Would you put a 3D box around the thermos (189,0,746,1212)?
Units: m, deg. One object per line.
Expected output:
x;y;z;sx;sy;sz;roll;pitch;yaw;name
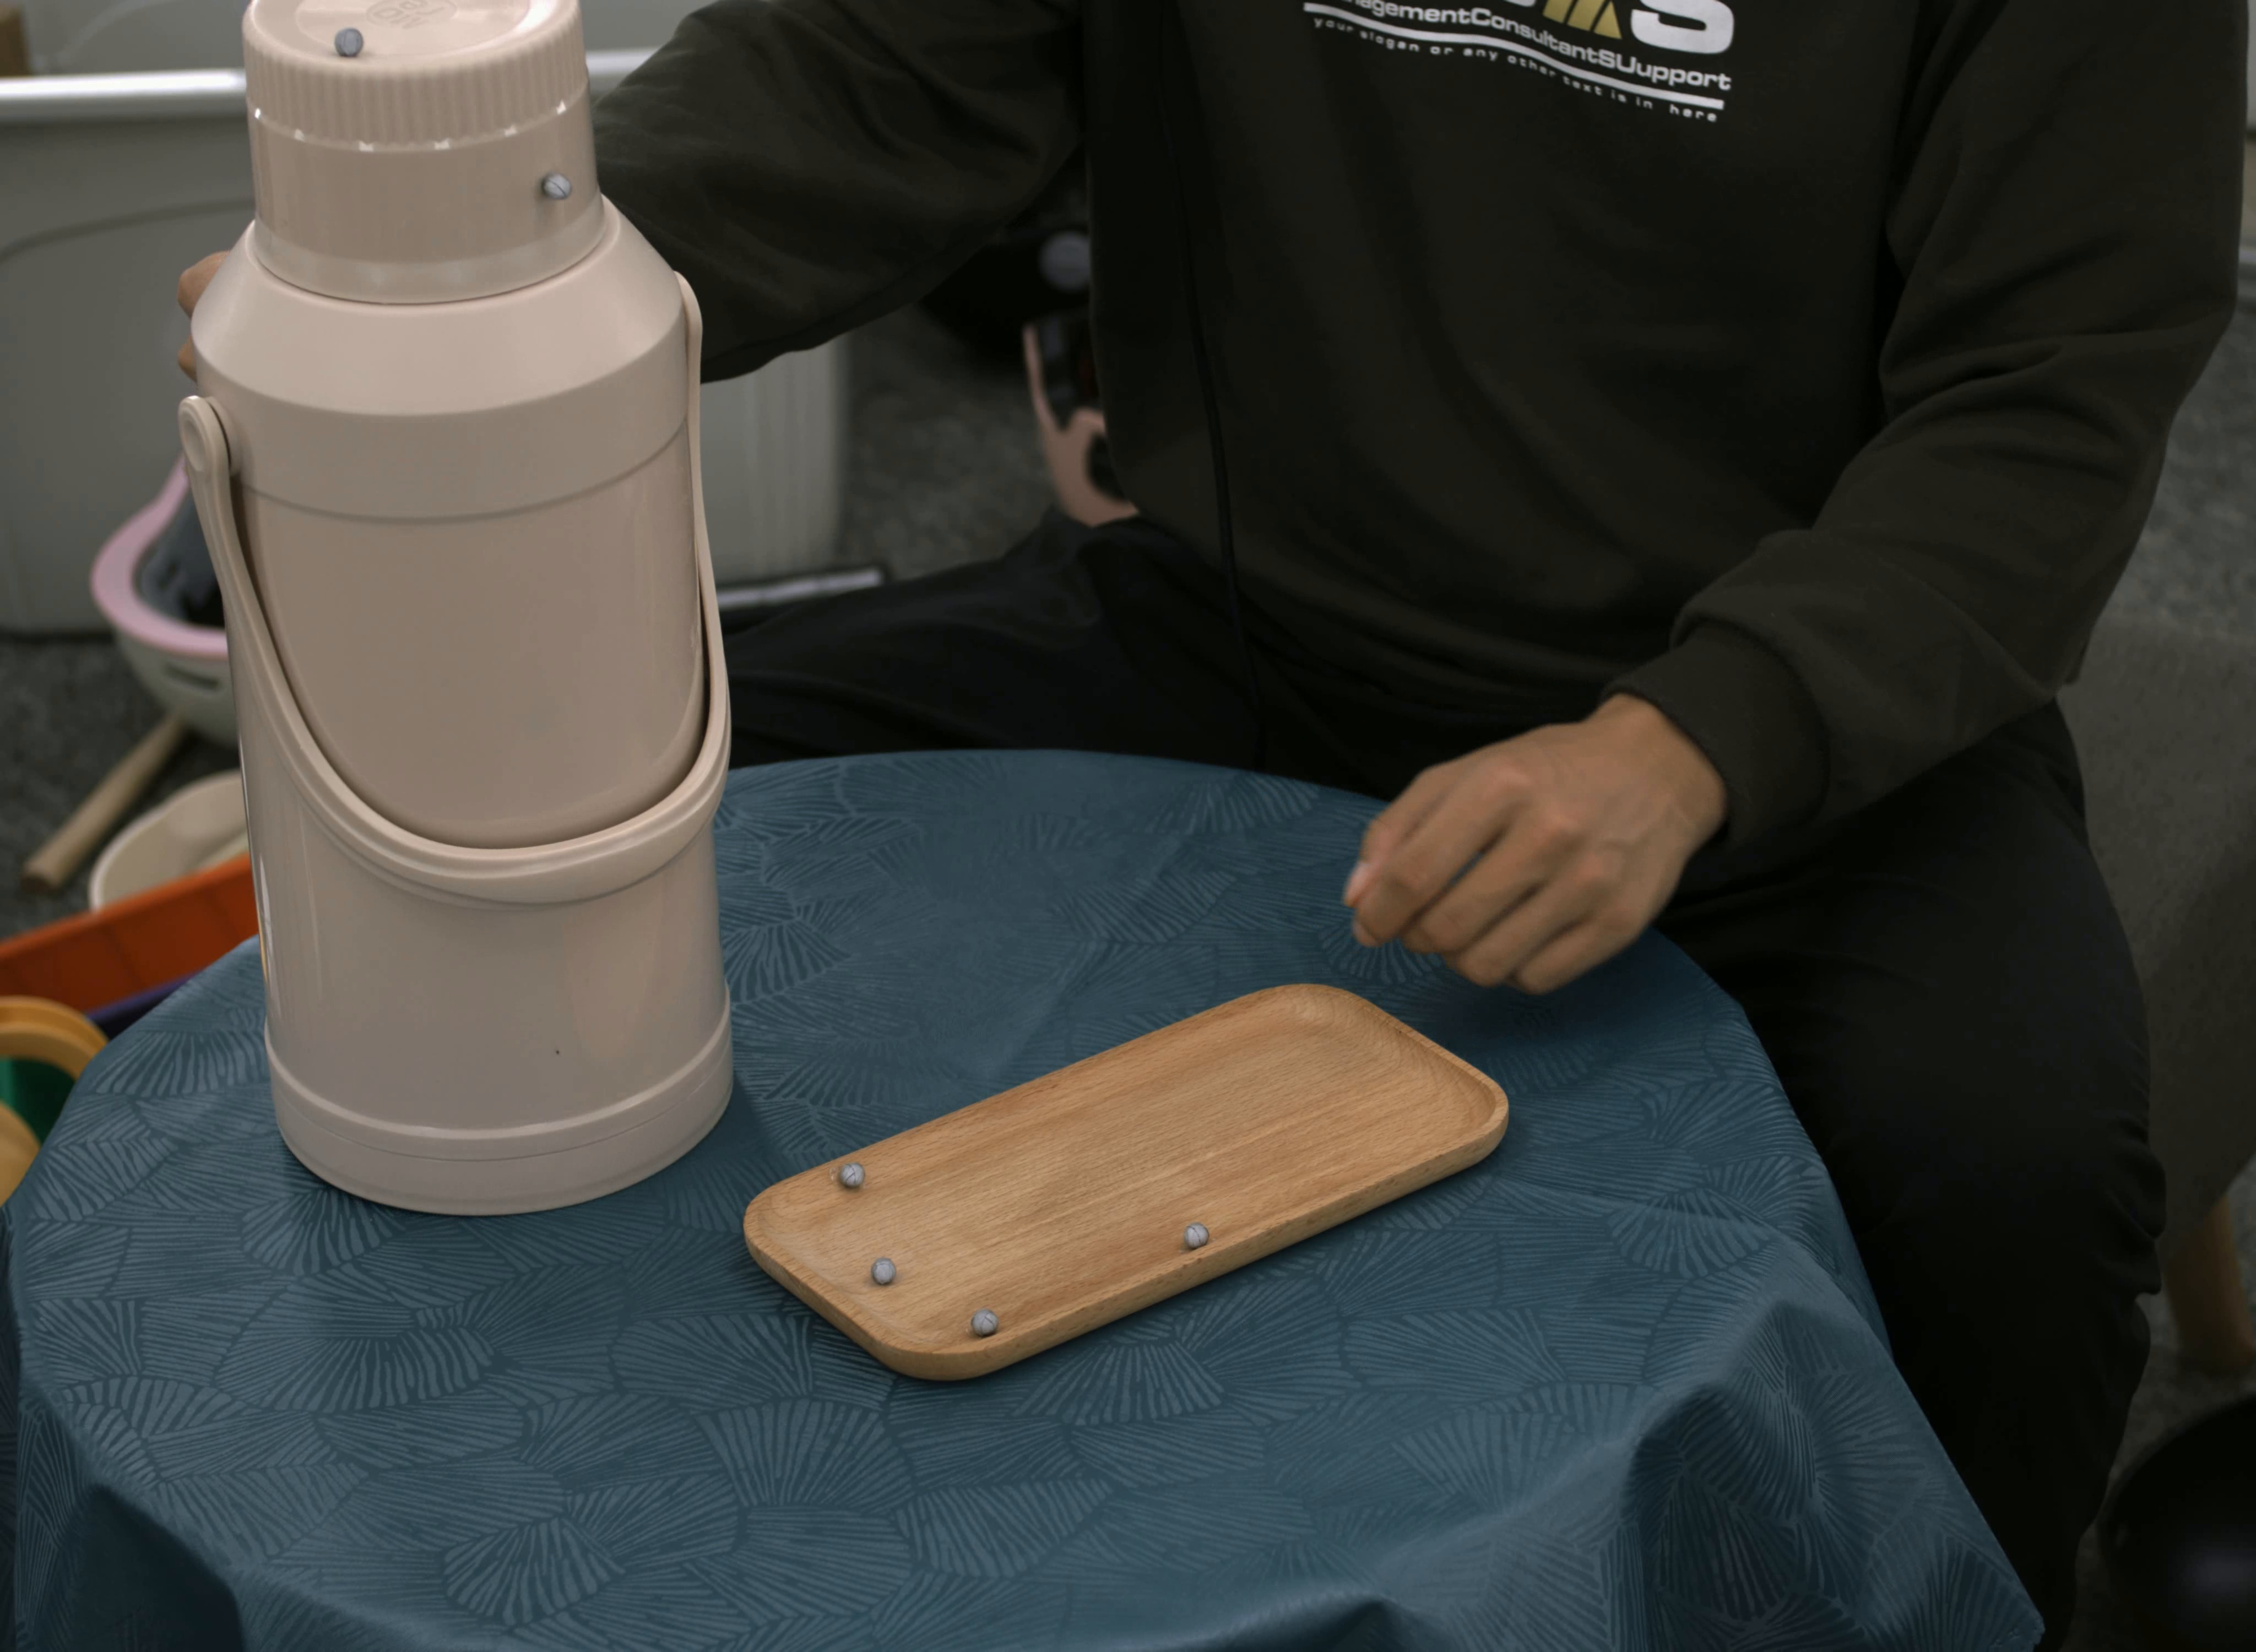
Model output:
-0.222;-0.087;1.855;0.176;0.401;0.208;-19;33;-28;thermos

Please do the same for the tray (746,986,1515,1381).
0.002;0.117;1.858;0.253;0.022;0.131;-19;34;-30;tray
